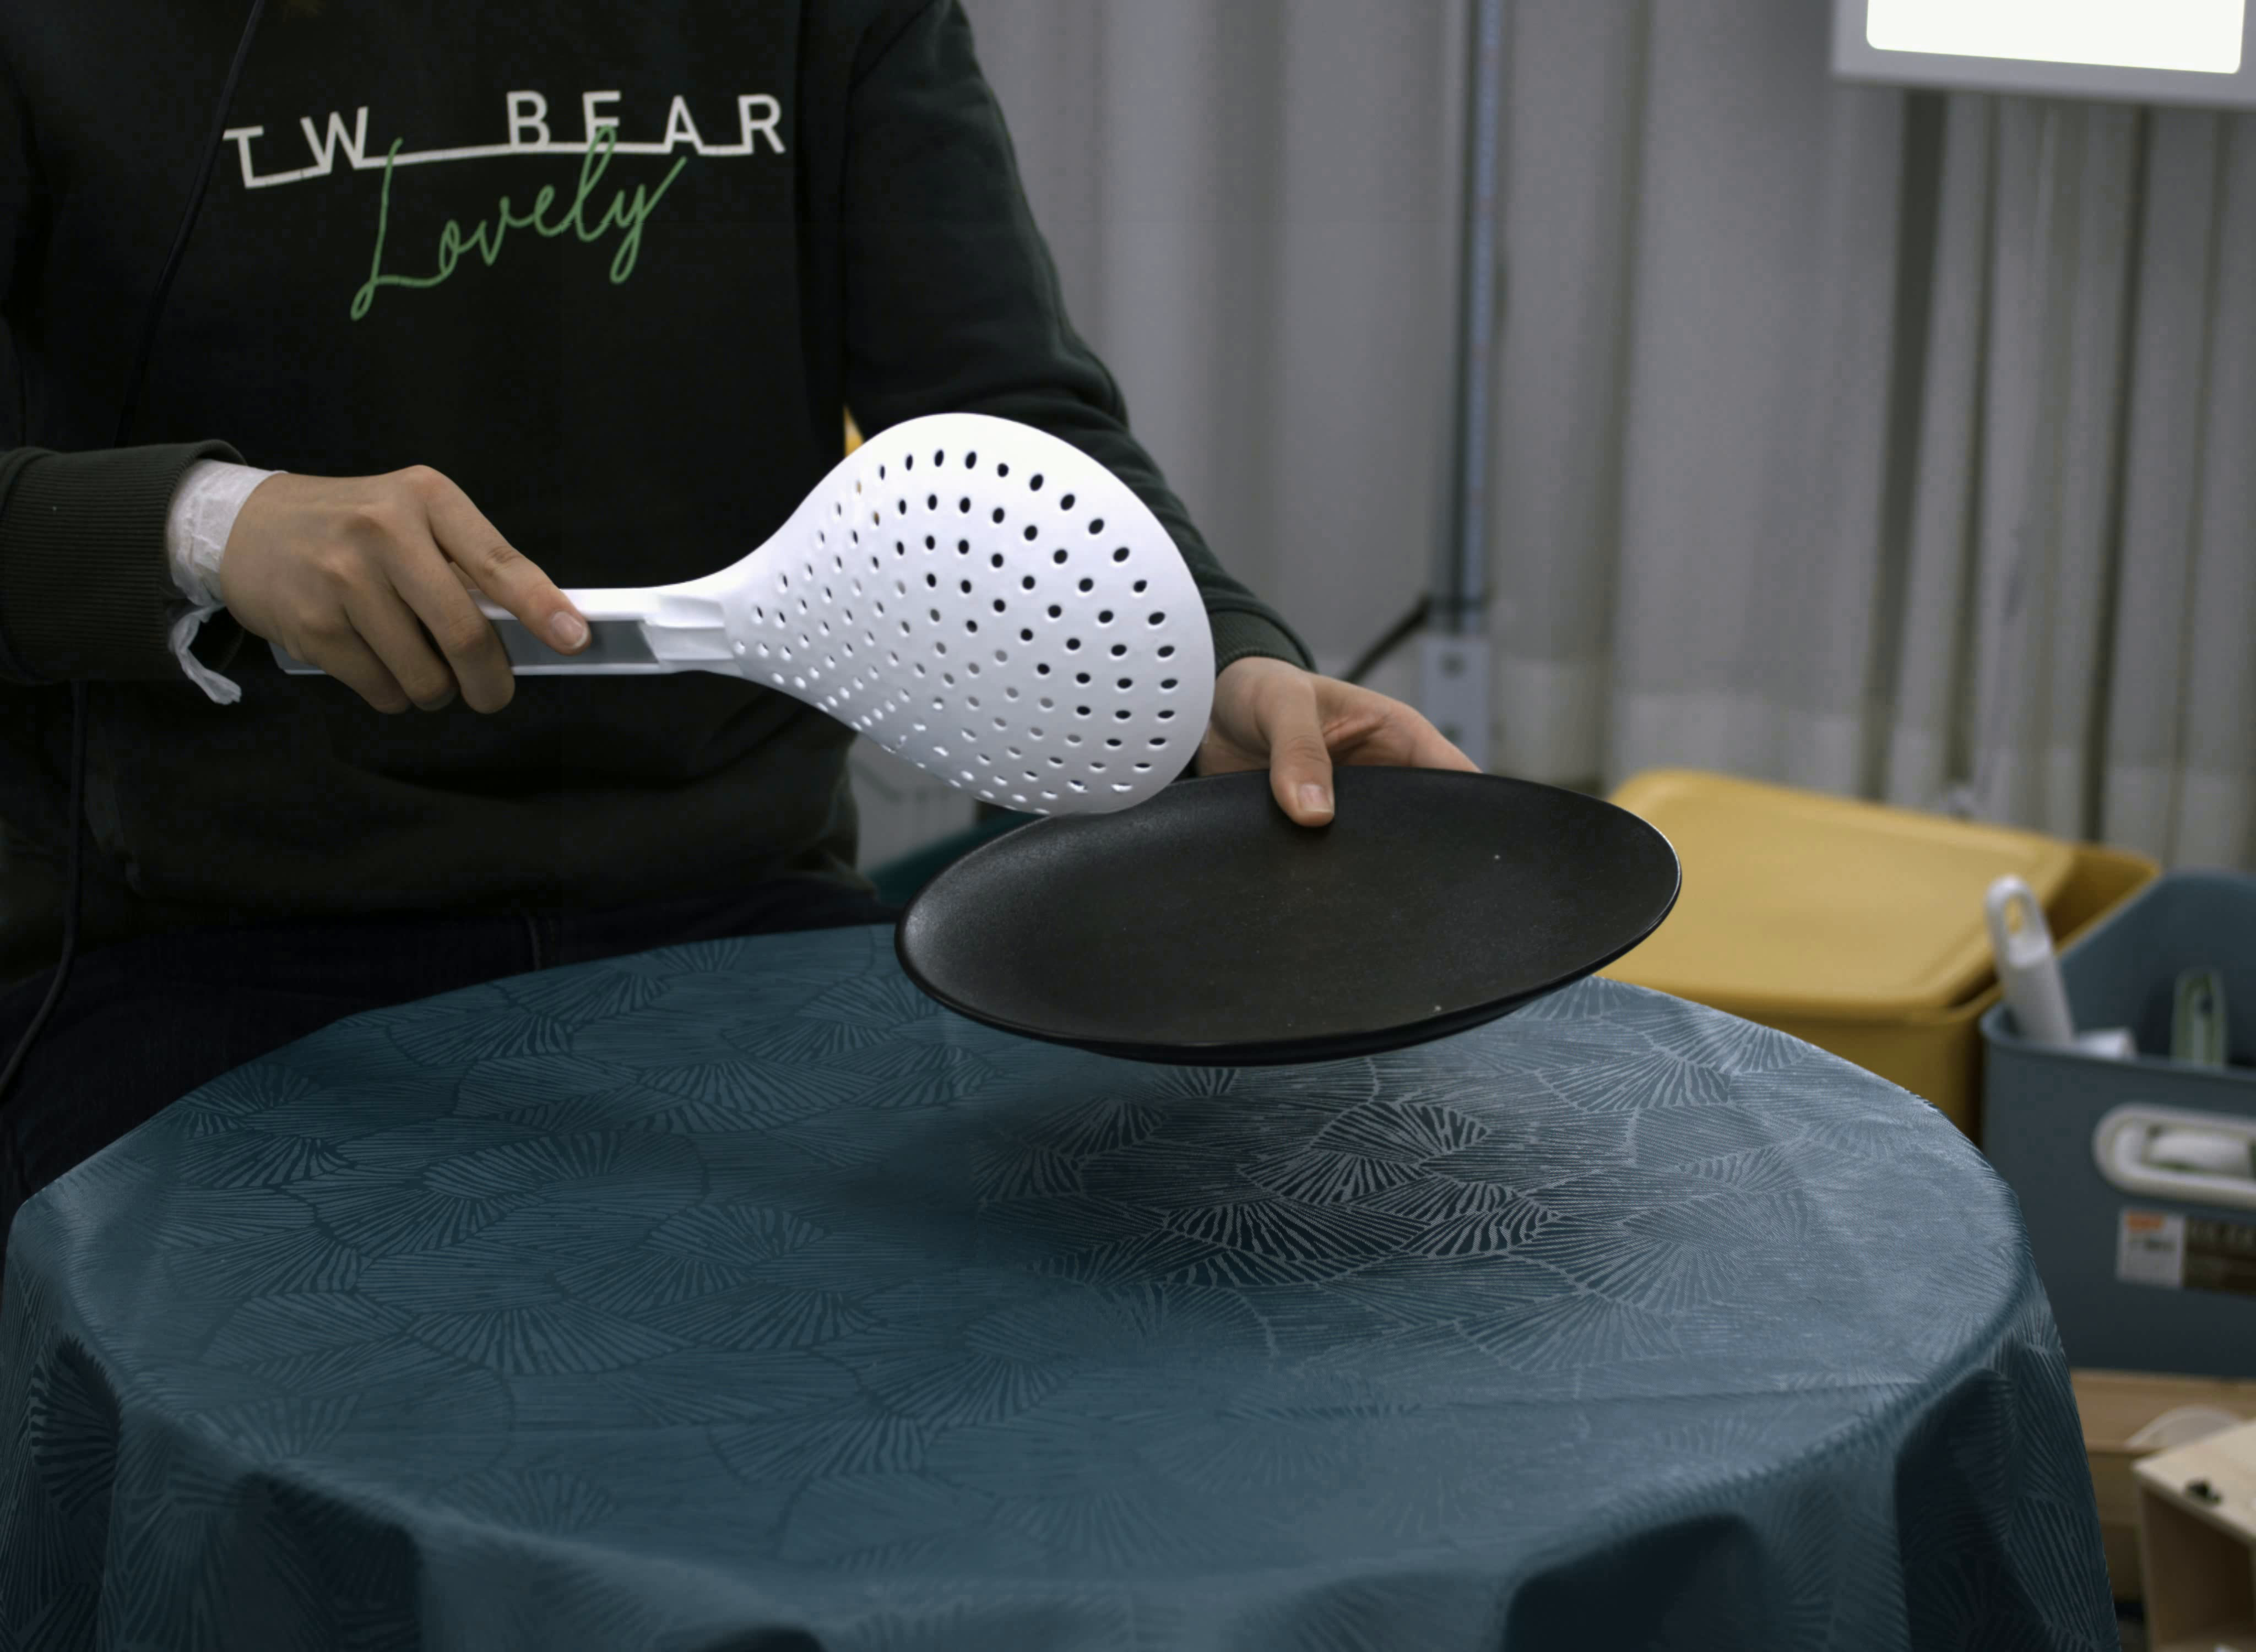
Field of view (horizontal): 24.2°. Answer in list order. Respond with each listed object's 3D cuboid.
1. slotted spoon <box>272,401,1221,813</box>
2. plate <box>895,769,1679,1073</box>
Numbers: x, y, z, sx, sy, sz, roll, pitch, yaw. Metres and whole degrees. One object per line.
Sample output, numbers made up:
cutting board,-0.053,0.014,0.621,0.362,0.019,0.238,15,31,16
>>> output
slotted spoon,-0.127,-0.062,1.621,0.345,0.137,0.046,3,30,35
plate,0.050,0.031,1.628,0.243,0.023,0.243,-4,19,2
